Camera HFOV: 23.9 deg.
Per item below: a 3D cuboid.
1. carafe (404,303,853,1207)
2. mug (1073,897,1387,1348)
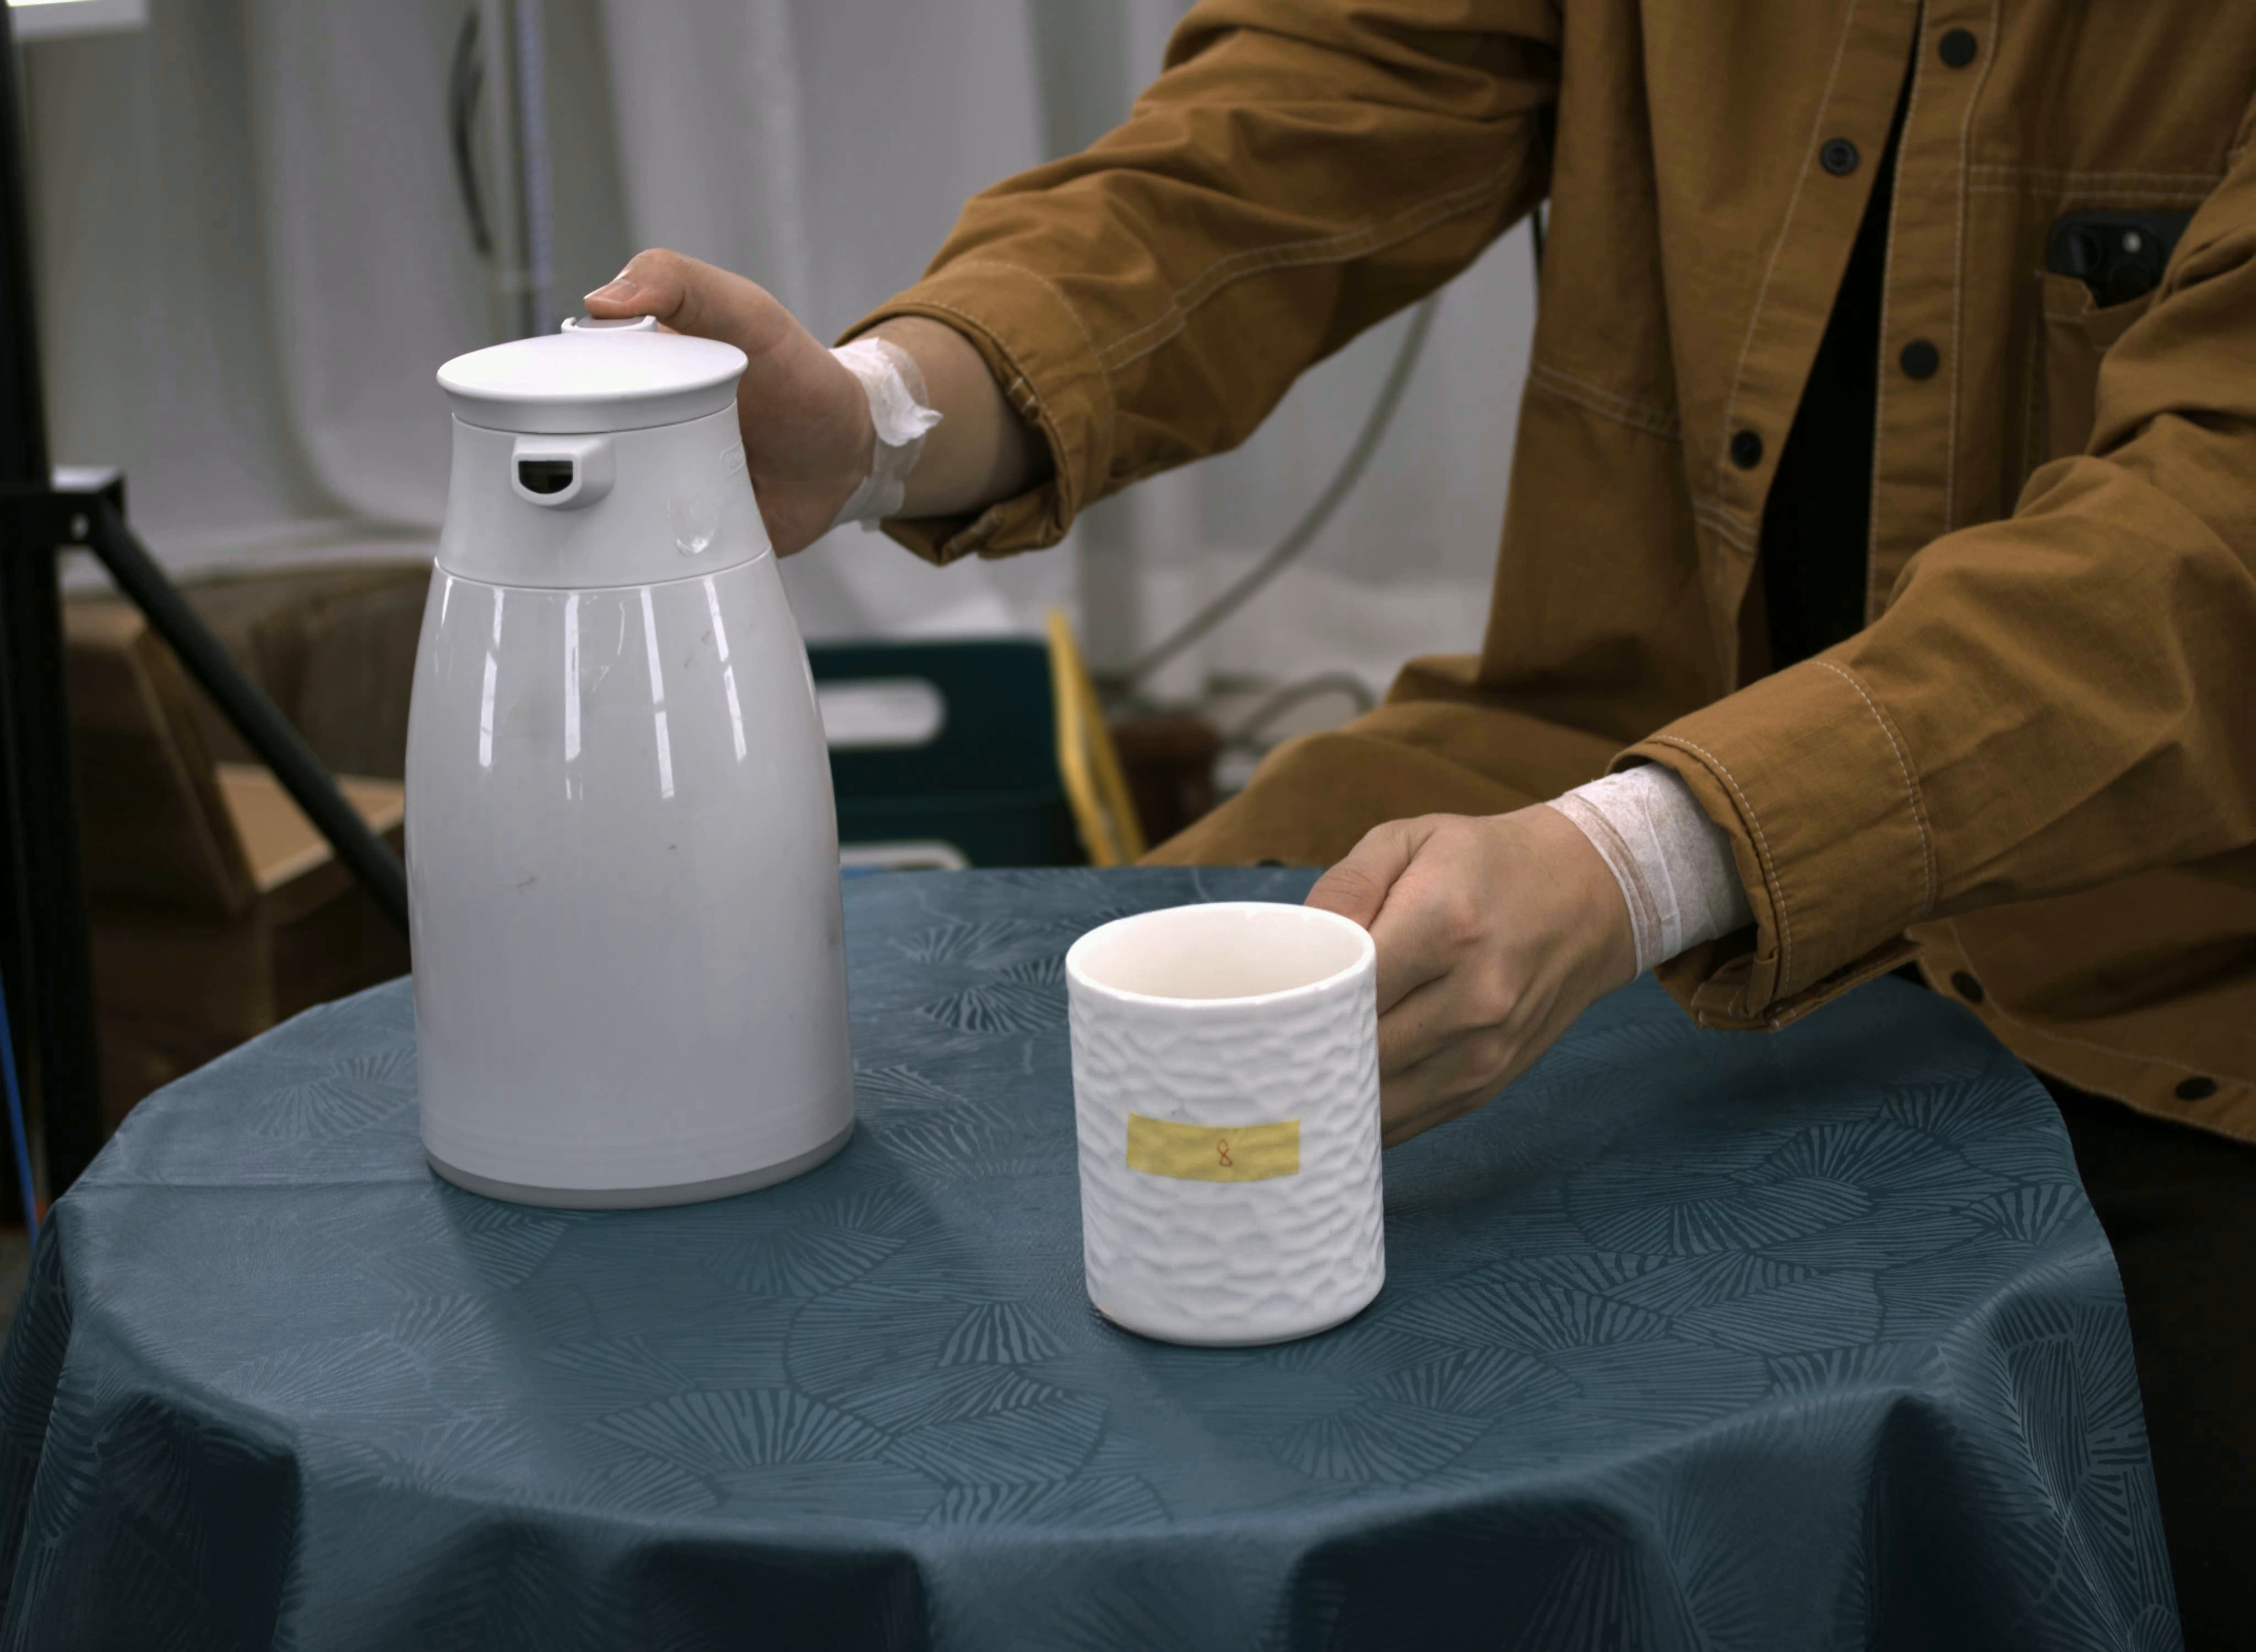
[{"bbox_3d":[-0.152,-0.029,1.612,0.133,0.248,0.167,-1,15,8],"label":"carafe"},{"bbox_3d":[0.036,0.077,1.465,0.086,0.102,0.116,7,20,27],"label":"mug"}]
